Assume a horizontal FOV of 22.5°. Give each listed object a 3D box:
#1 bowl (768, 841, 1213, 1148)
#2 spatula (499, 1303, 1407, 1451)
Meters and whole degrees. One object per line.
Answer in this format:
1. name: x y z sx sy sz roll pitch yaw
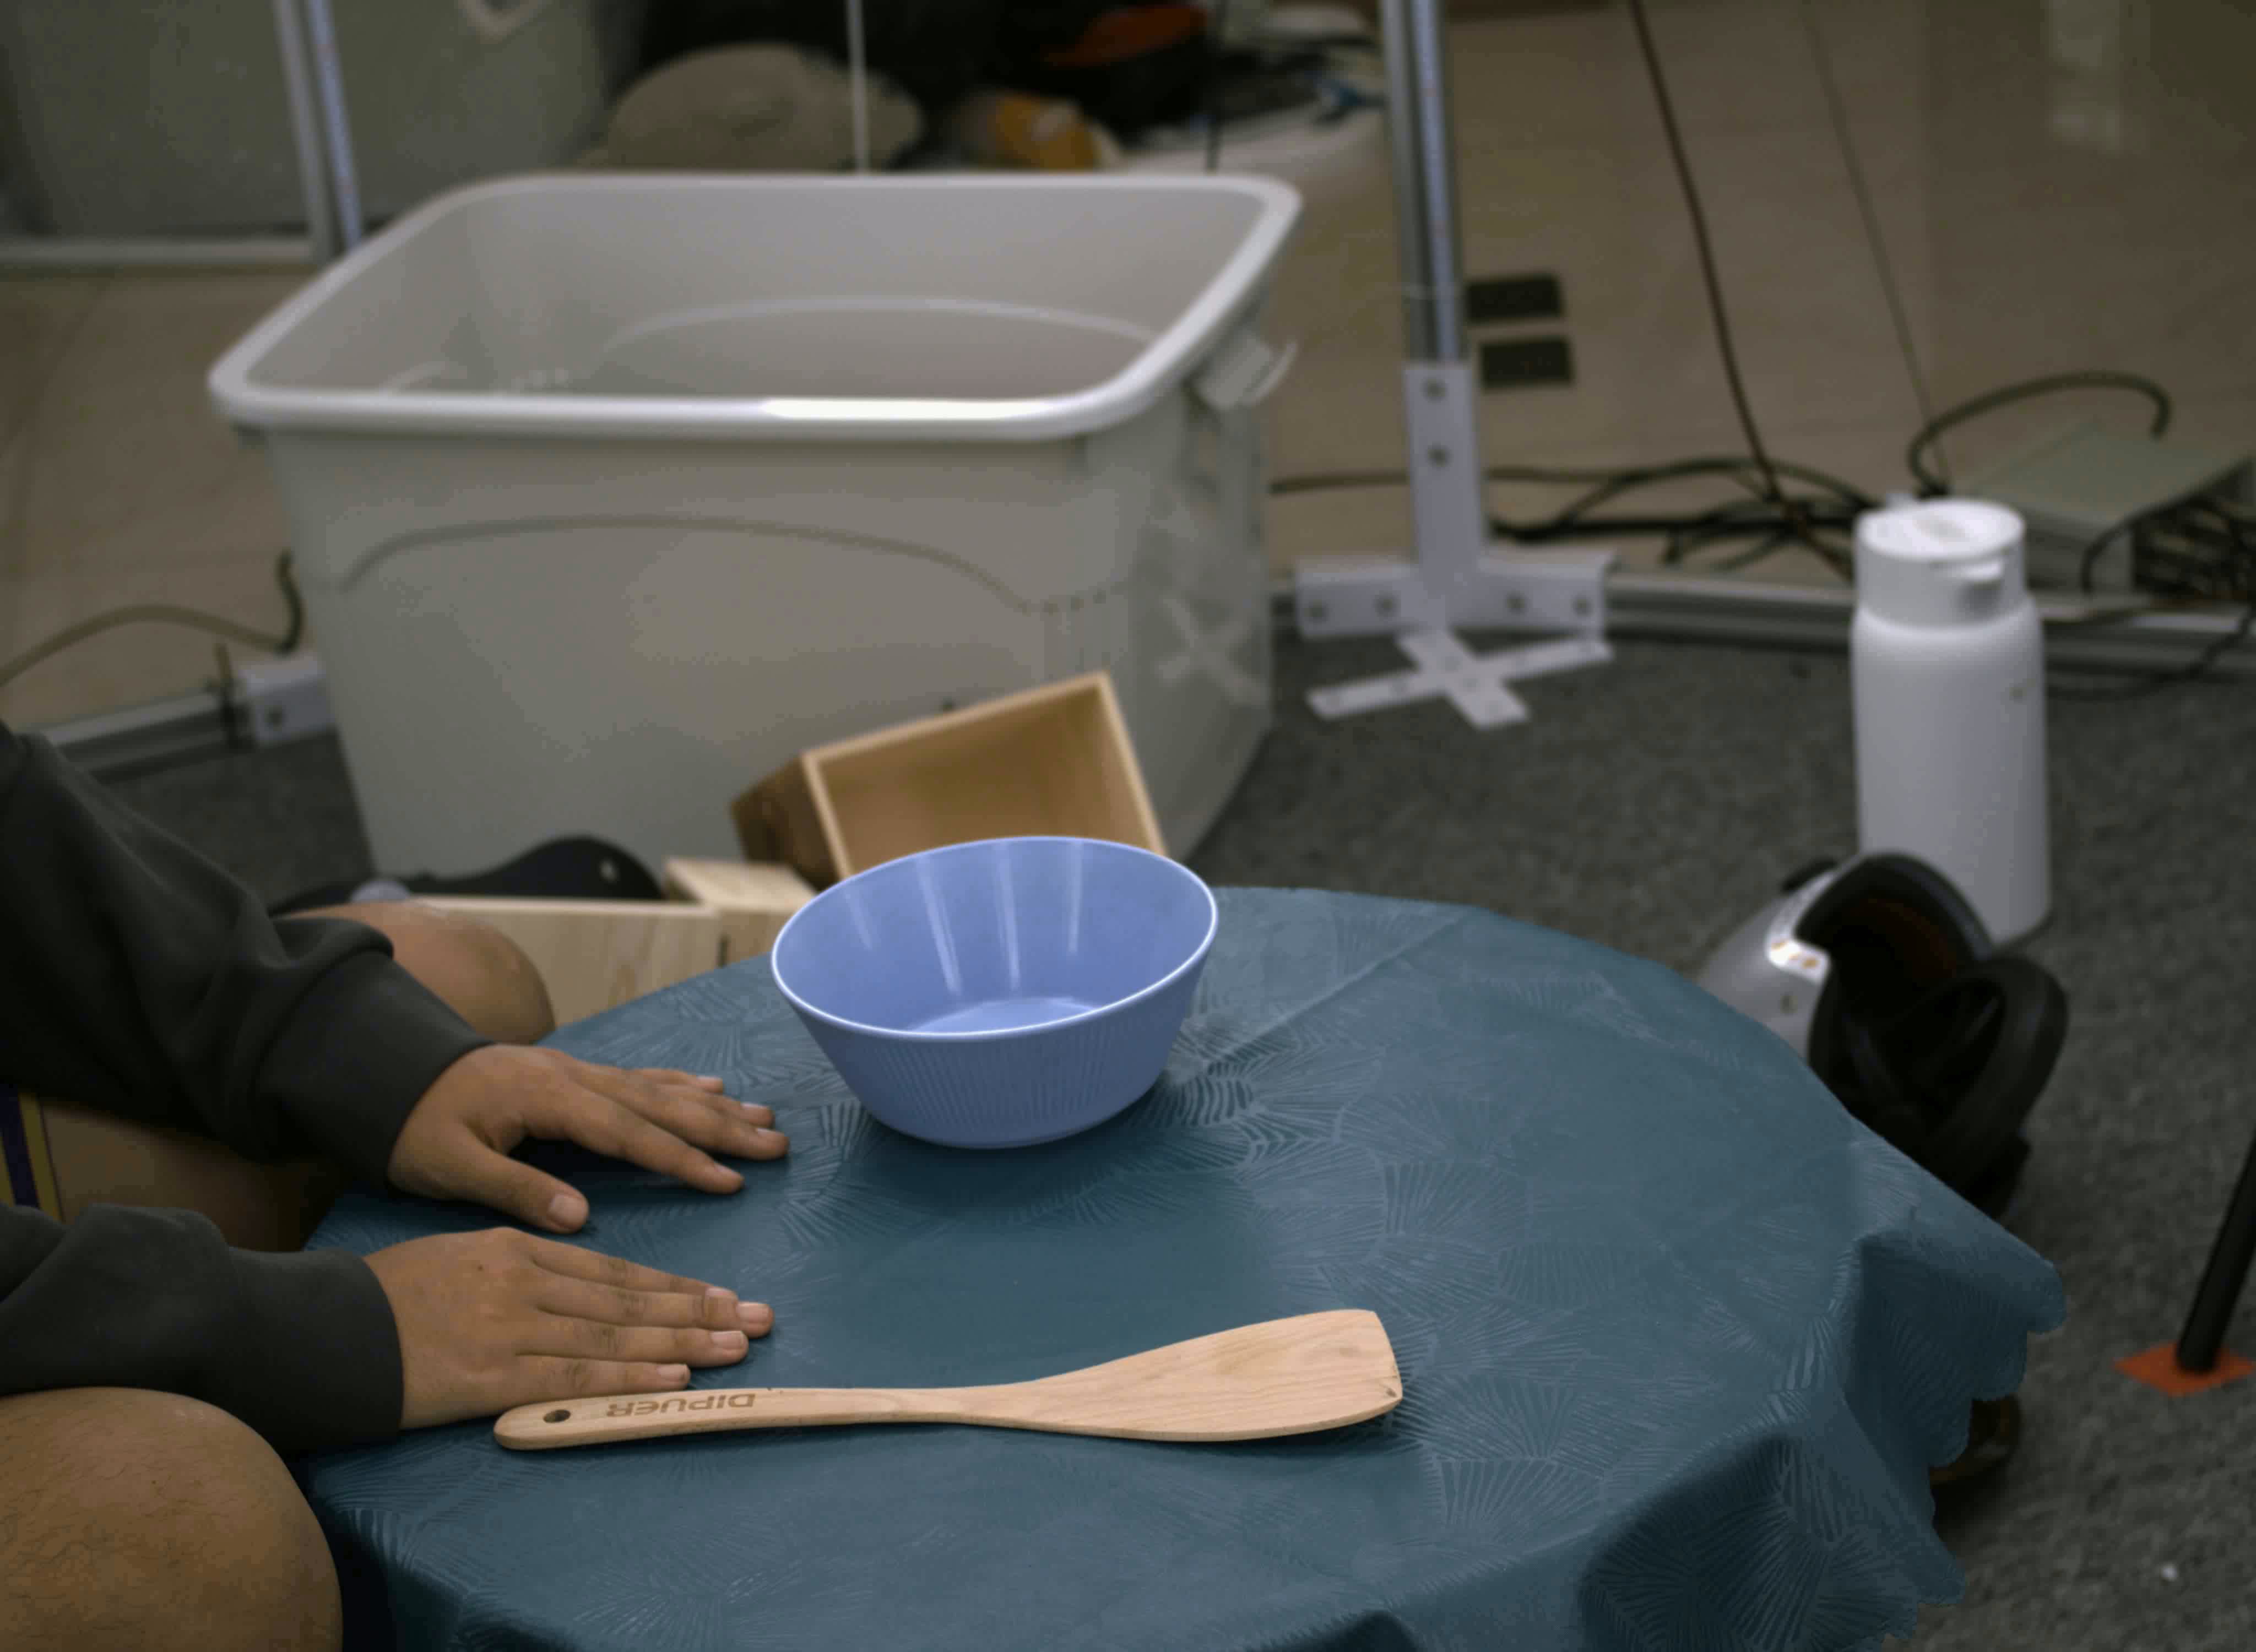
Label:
1. bowl: -0.051 0.071 2.221 0.176 0.071 0.173 -5 25 3
2. spatula: -0.063 0.201 2.011 0.327 0.017 0.079 -4 25 6
